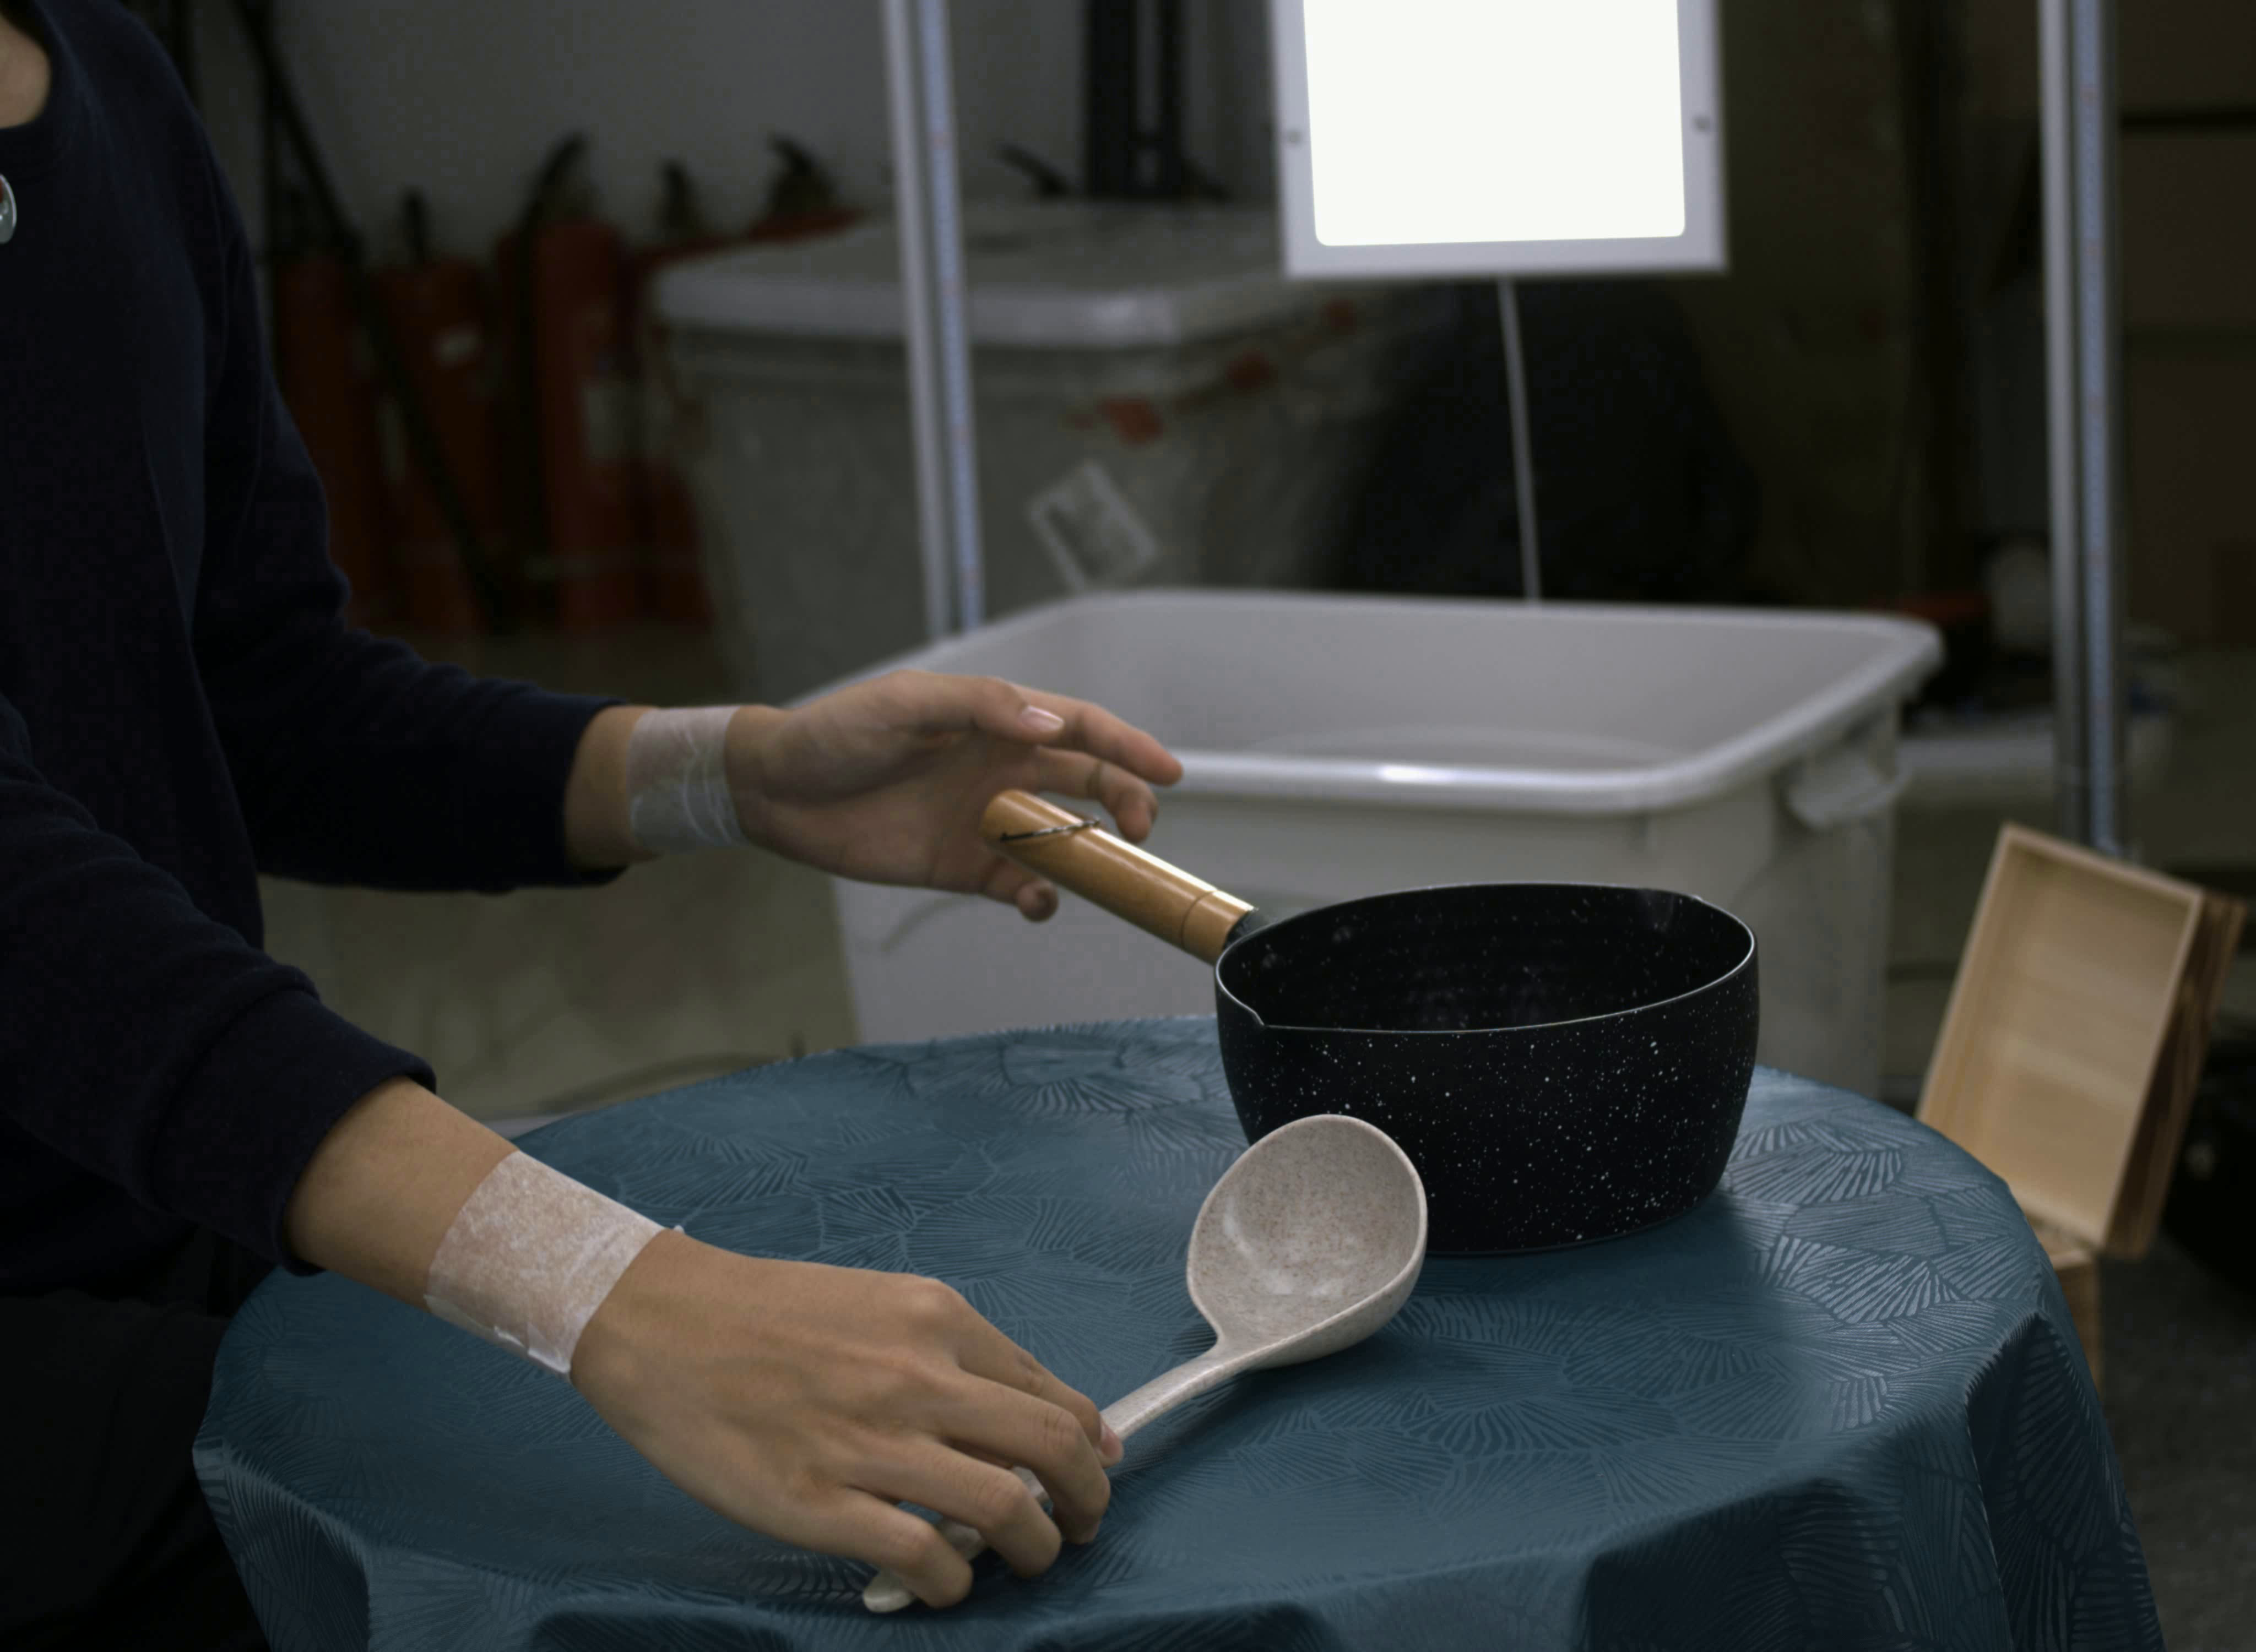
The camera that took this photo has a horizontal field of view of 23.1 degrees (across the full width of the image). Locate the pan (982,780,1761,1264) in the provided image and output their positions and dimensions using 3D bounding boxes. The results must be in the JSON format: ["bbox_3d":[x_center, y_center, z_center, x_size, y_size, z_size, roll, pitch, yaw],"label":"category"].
[{"bbox_3d":[0.068,0.061,1.911,0.202,0.108,0.350,-18,20,-39],"label":"pan"}]

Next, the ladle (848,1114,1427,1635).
[{"bbox_3d":[-0.004,0.158,1.636,0.091,0.069,0.268,-1,14,36],"label":"ladle"}]
